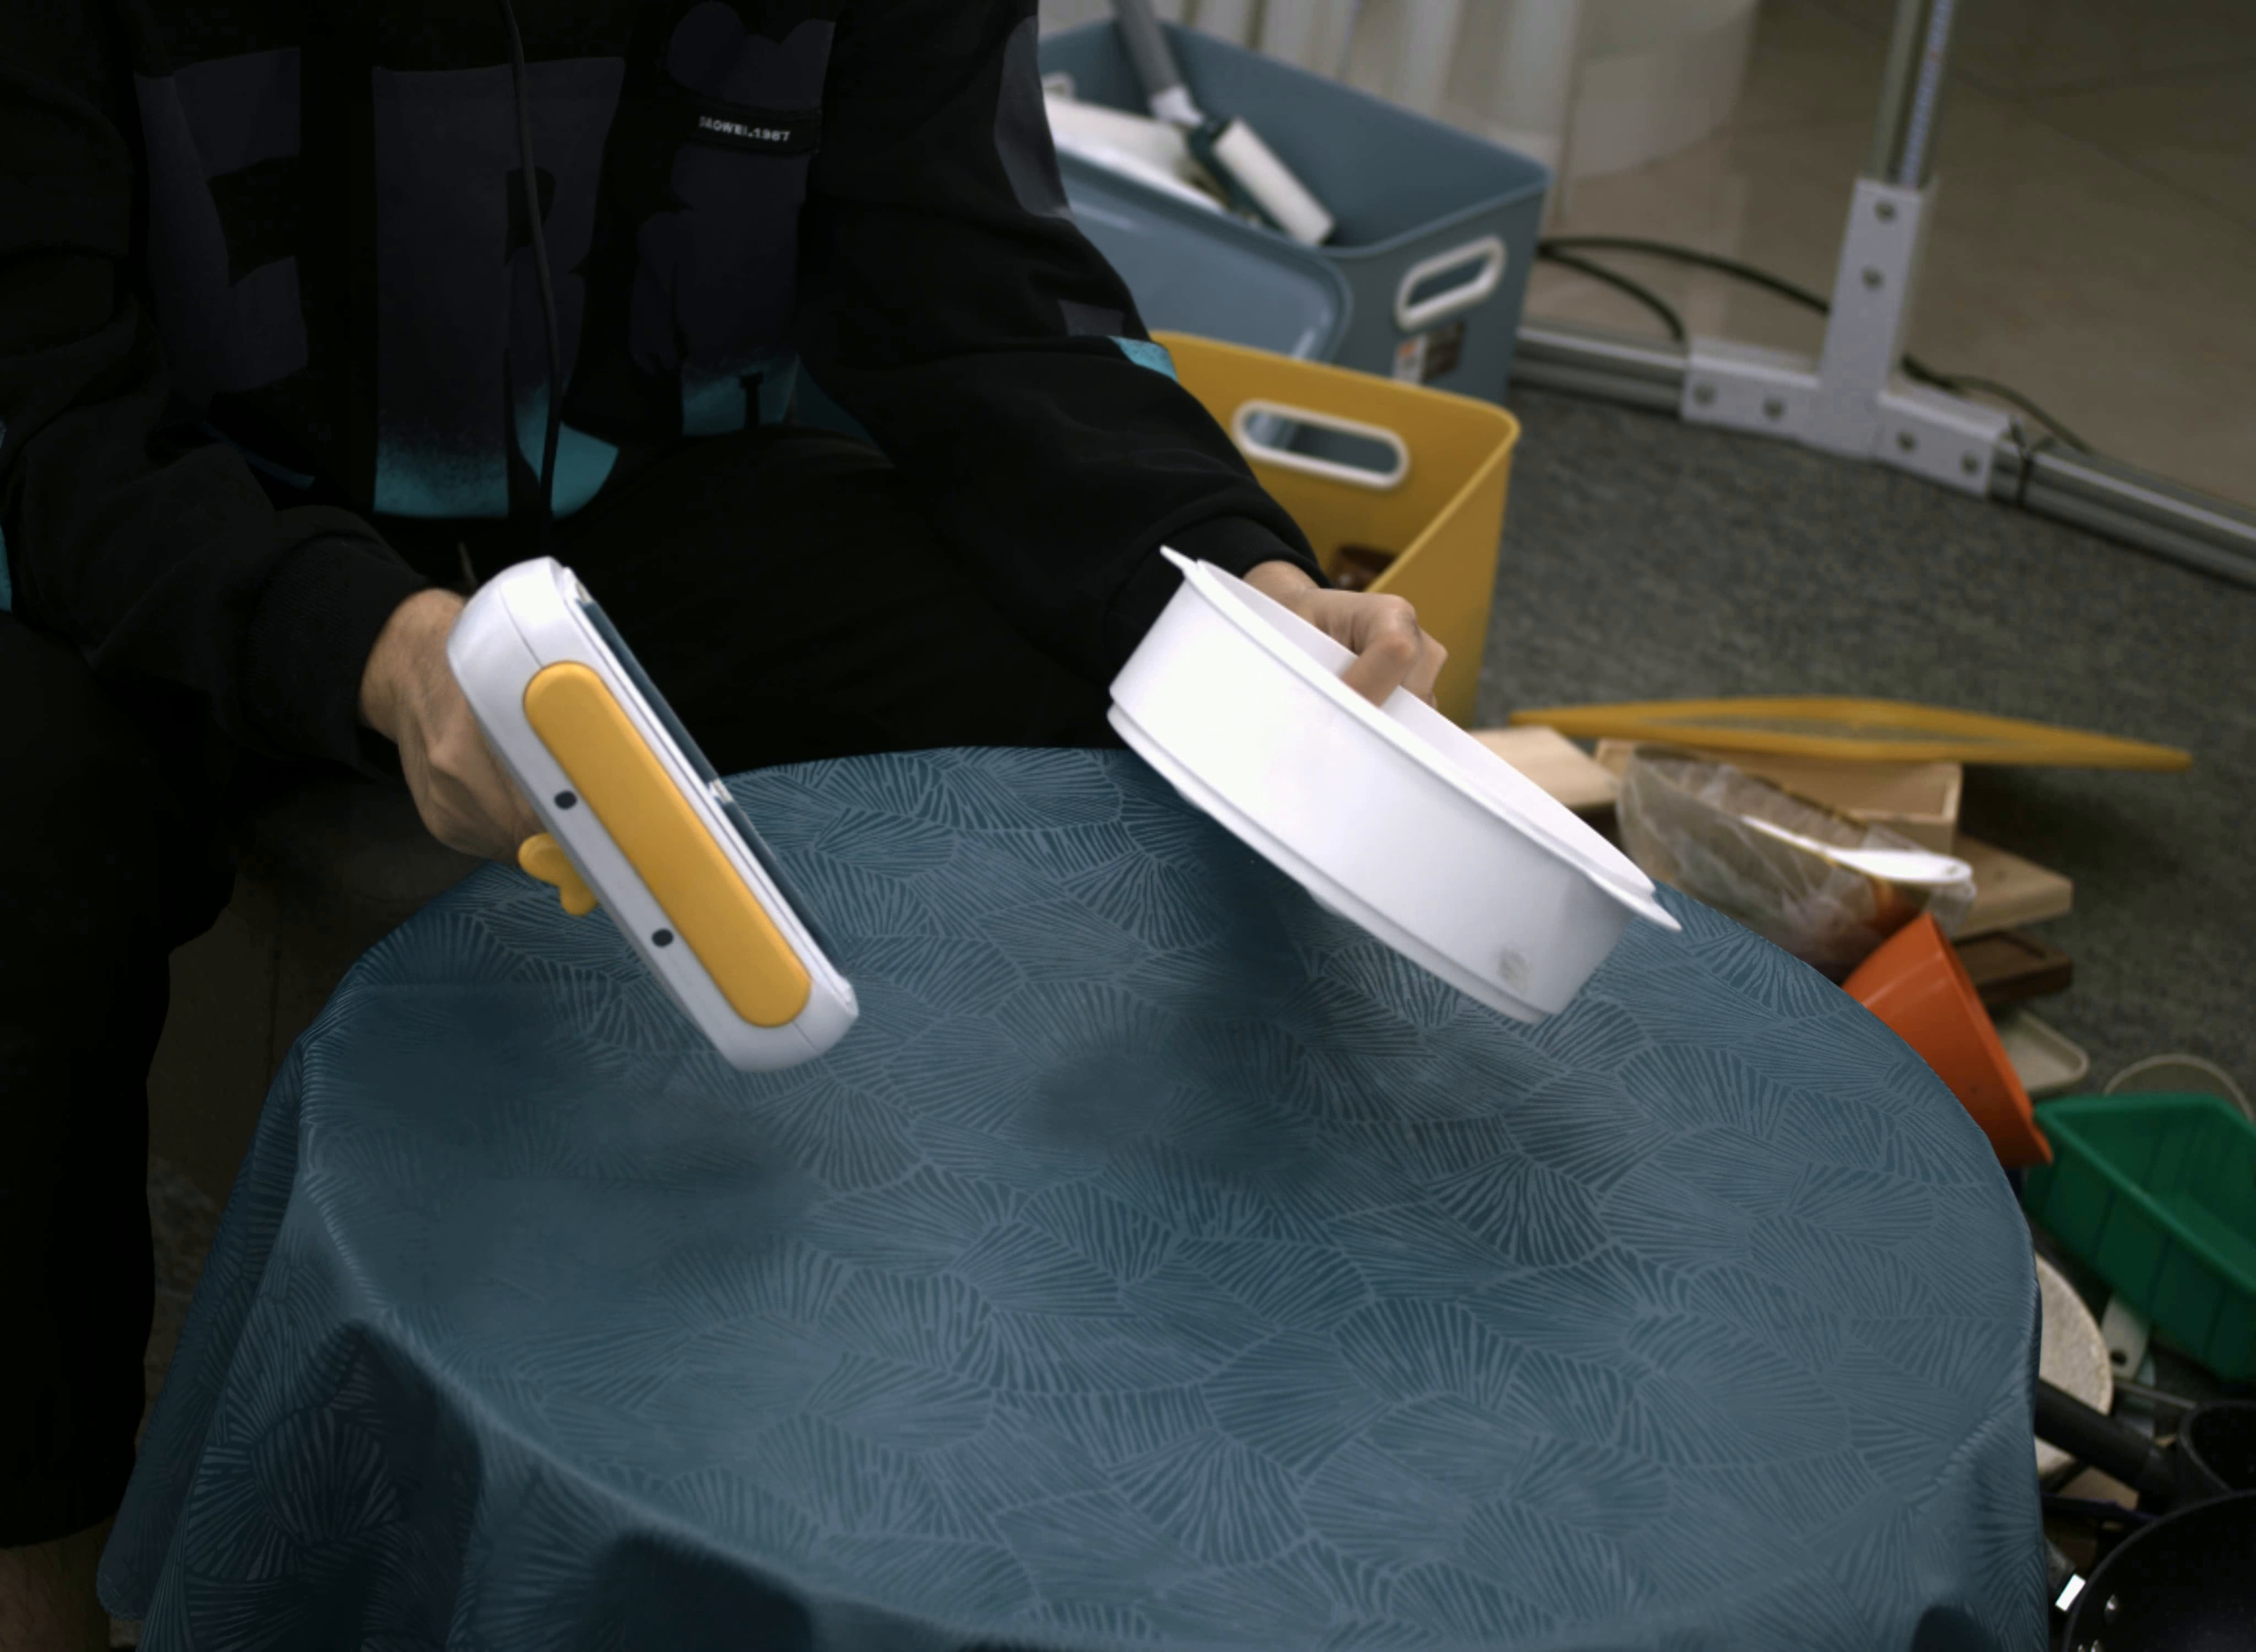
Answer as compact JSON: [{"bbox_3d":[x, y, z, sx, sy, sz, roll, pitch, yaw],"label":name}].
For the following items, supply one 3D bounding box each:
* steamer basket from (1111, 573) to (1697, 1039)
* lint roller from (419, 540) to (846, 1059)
[{"bbox_3d":[0.087,-0.003,1.840,0.232,0.069,0.200,35,4,25],"label":"steamer basket"},{"bbox_3d":[-0.179,-0.012,1.802,0.074,0.192,0.193,-40,15,-3],"label":"lint roller"}]
